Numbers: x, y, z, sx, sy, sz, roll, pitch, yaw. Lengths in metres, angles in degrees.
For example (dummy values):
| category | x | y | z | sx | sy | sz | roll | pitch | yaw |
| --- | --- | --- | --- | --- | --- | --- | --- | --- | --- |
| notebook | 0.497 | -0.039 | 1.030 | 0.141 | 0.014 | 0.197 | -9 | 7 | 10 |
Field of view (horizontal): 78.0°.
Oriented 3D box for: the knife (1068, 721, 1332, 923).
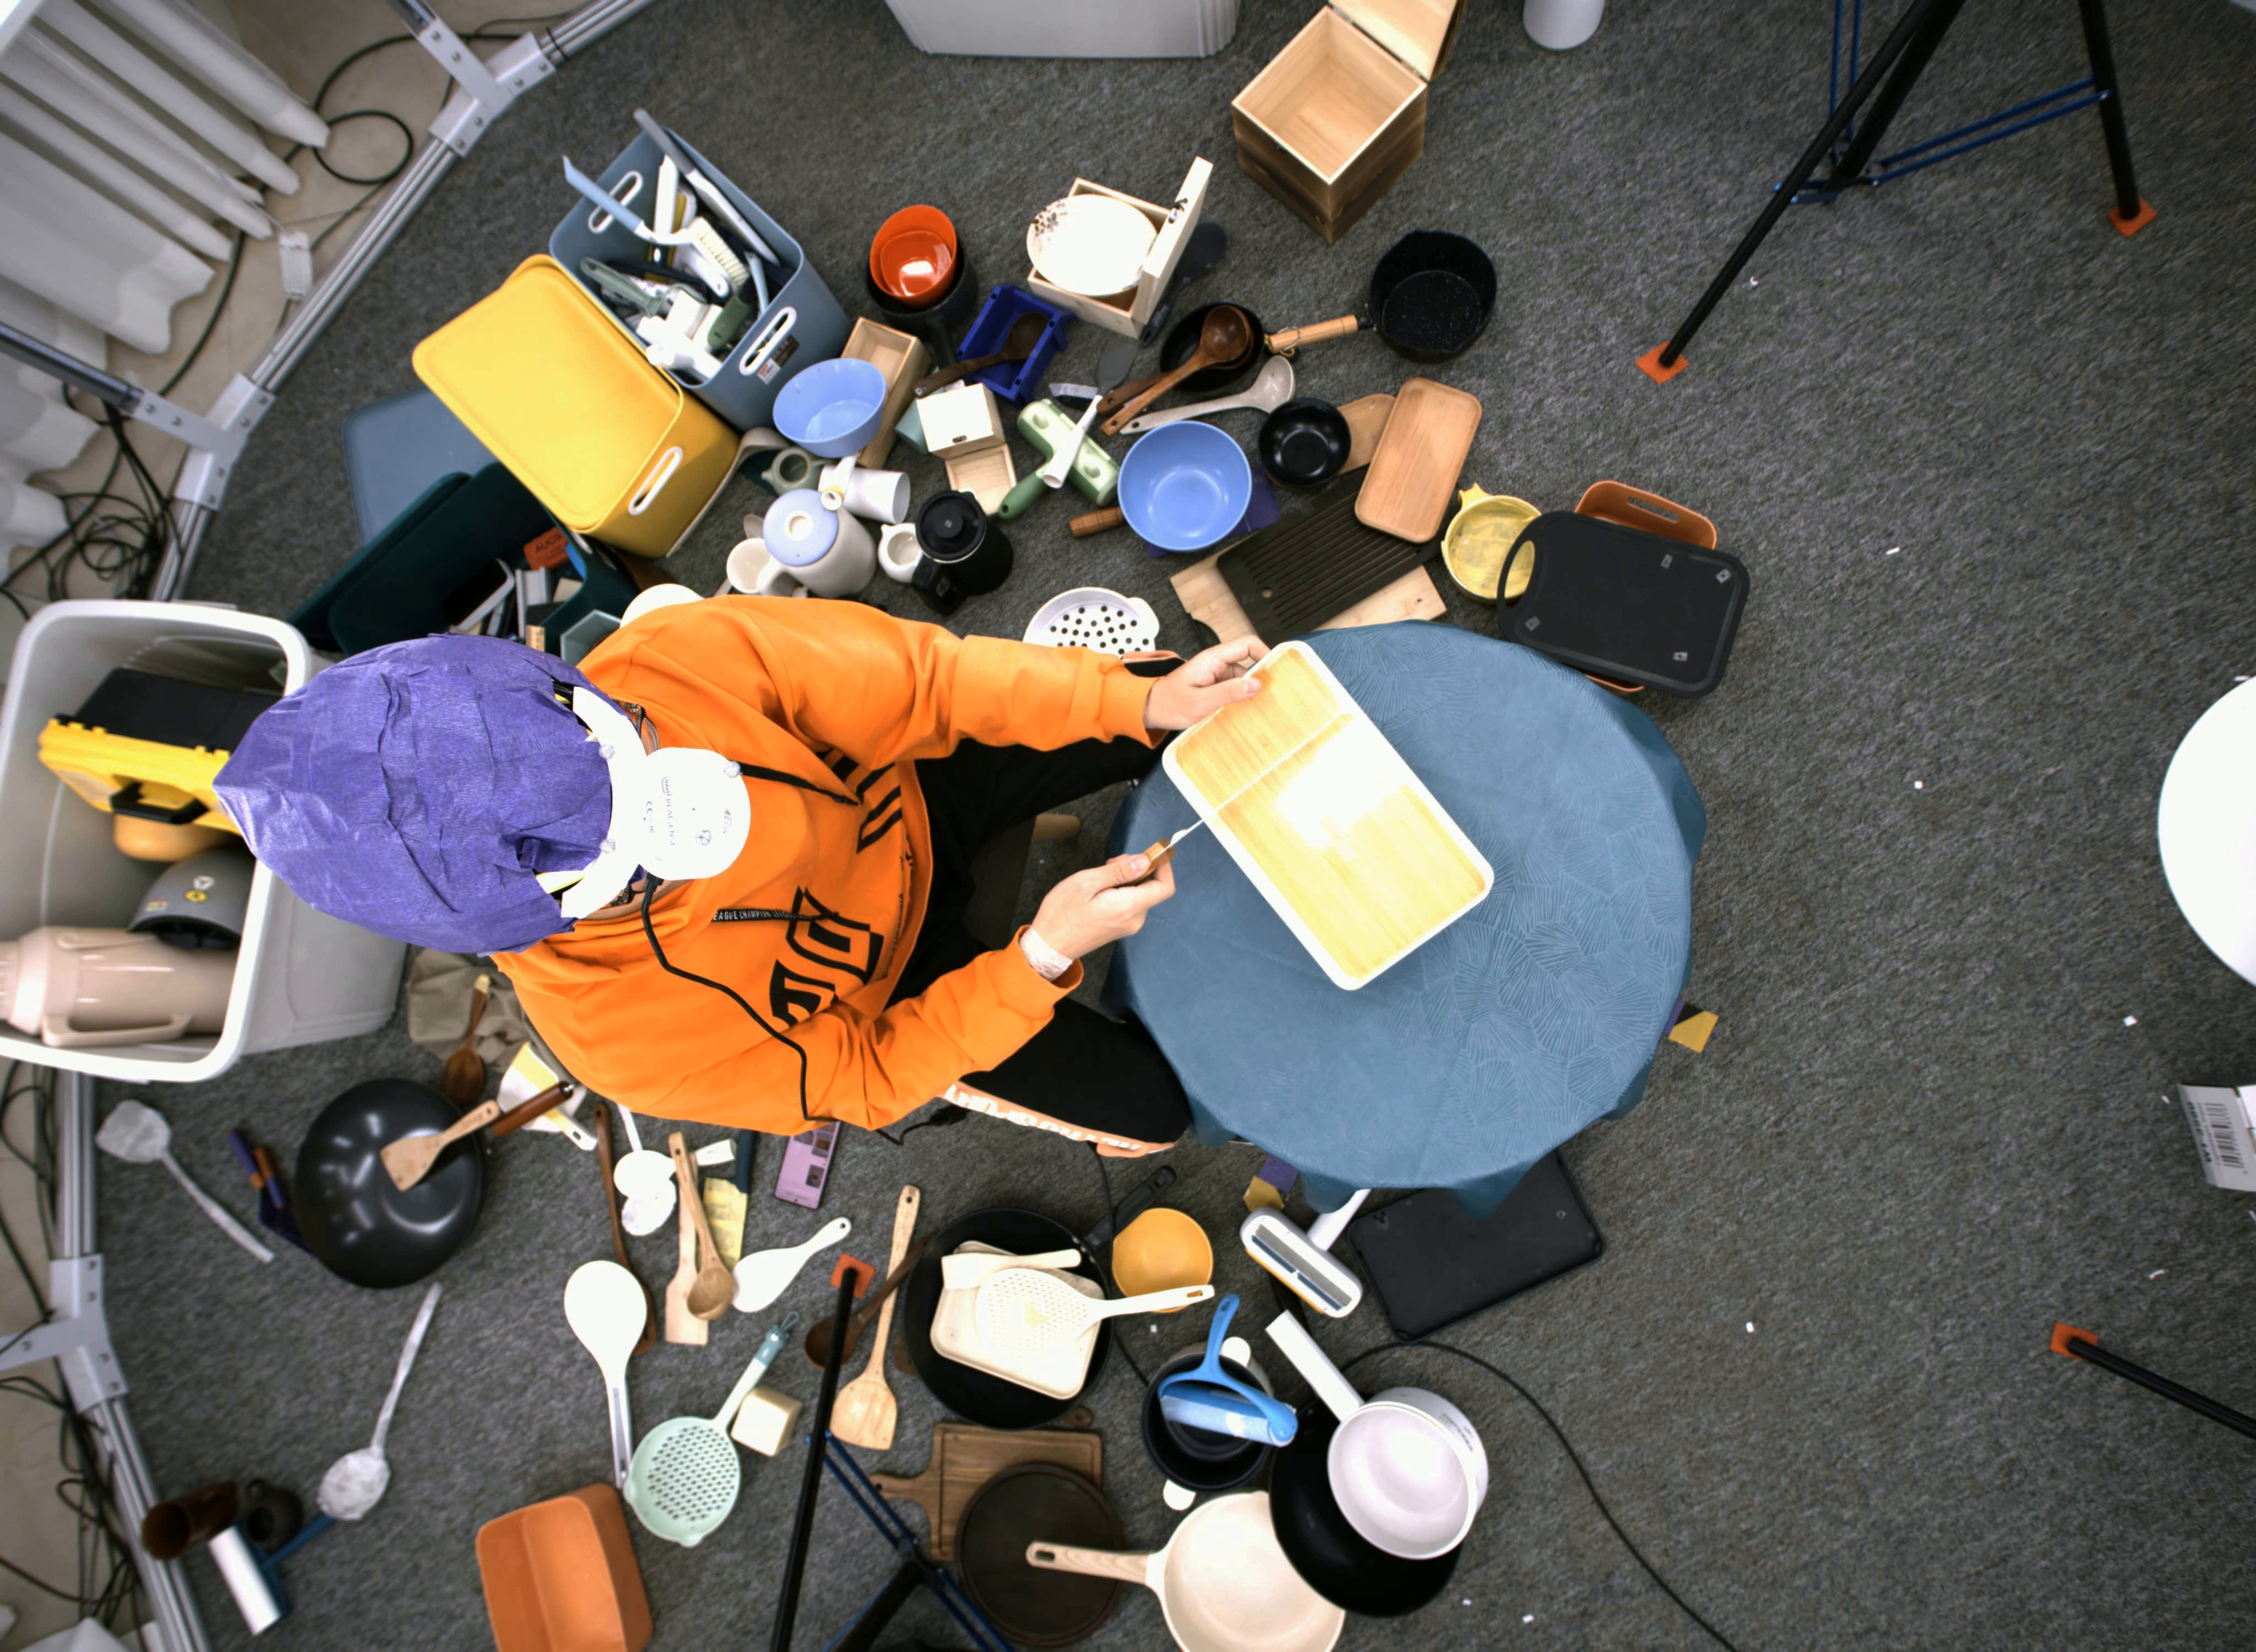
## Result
| category | x | y | z | sx | sy | sz | roll | pitch | yaw |
| --- | --- | --- | --- | --- | --- | --- | --- | --- | --- |
| knife | 0.068 | -0.005 | 1.302 | 0.311 | 0.091 | 0.021 | -38 | 90 | 25 |

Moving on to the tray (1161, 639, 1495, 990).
| category | x | y | z | sx | sy | sz | roll | pitch | yaw |
| --- | --- | --- | --- | --- | --- | --- | --- | --- | --- |
| tray | 0.186 | -0.010 | 1.309 | 0.195 | 0.027 | 0.299 | -41 | 86 | 30 |
